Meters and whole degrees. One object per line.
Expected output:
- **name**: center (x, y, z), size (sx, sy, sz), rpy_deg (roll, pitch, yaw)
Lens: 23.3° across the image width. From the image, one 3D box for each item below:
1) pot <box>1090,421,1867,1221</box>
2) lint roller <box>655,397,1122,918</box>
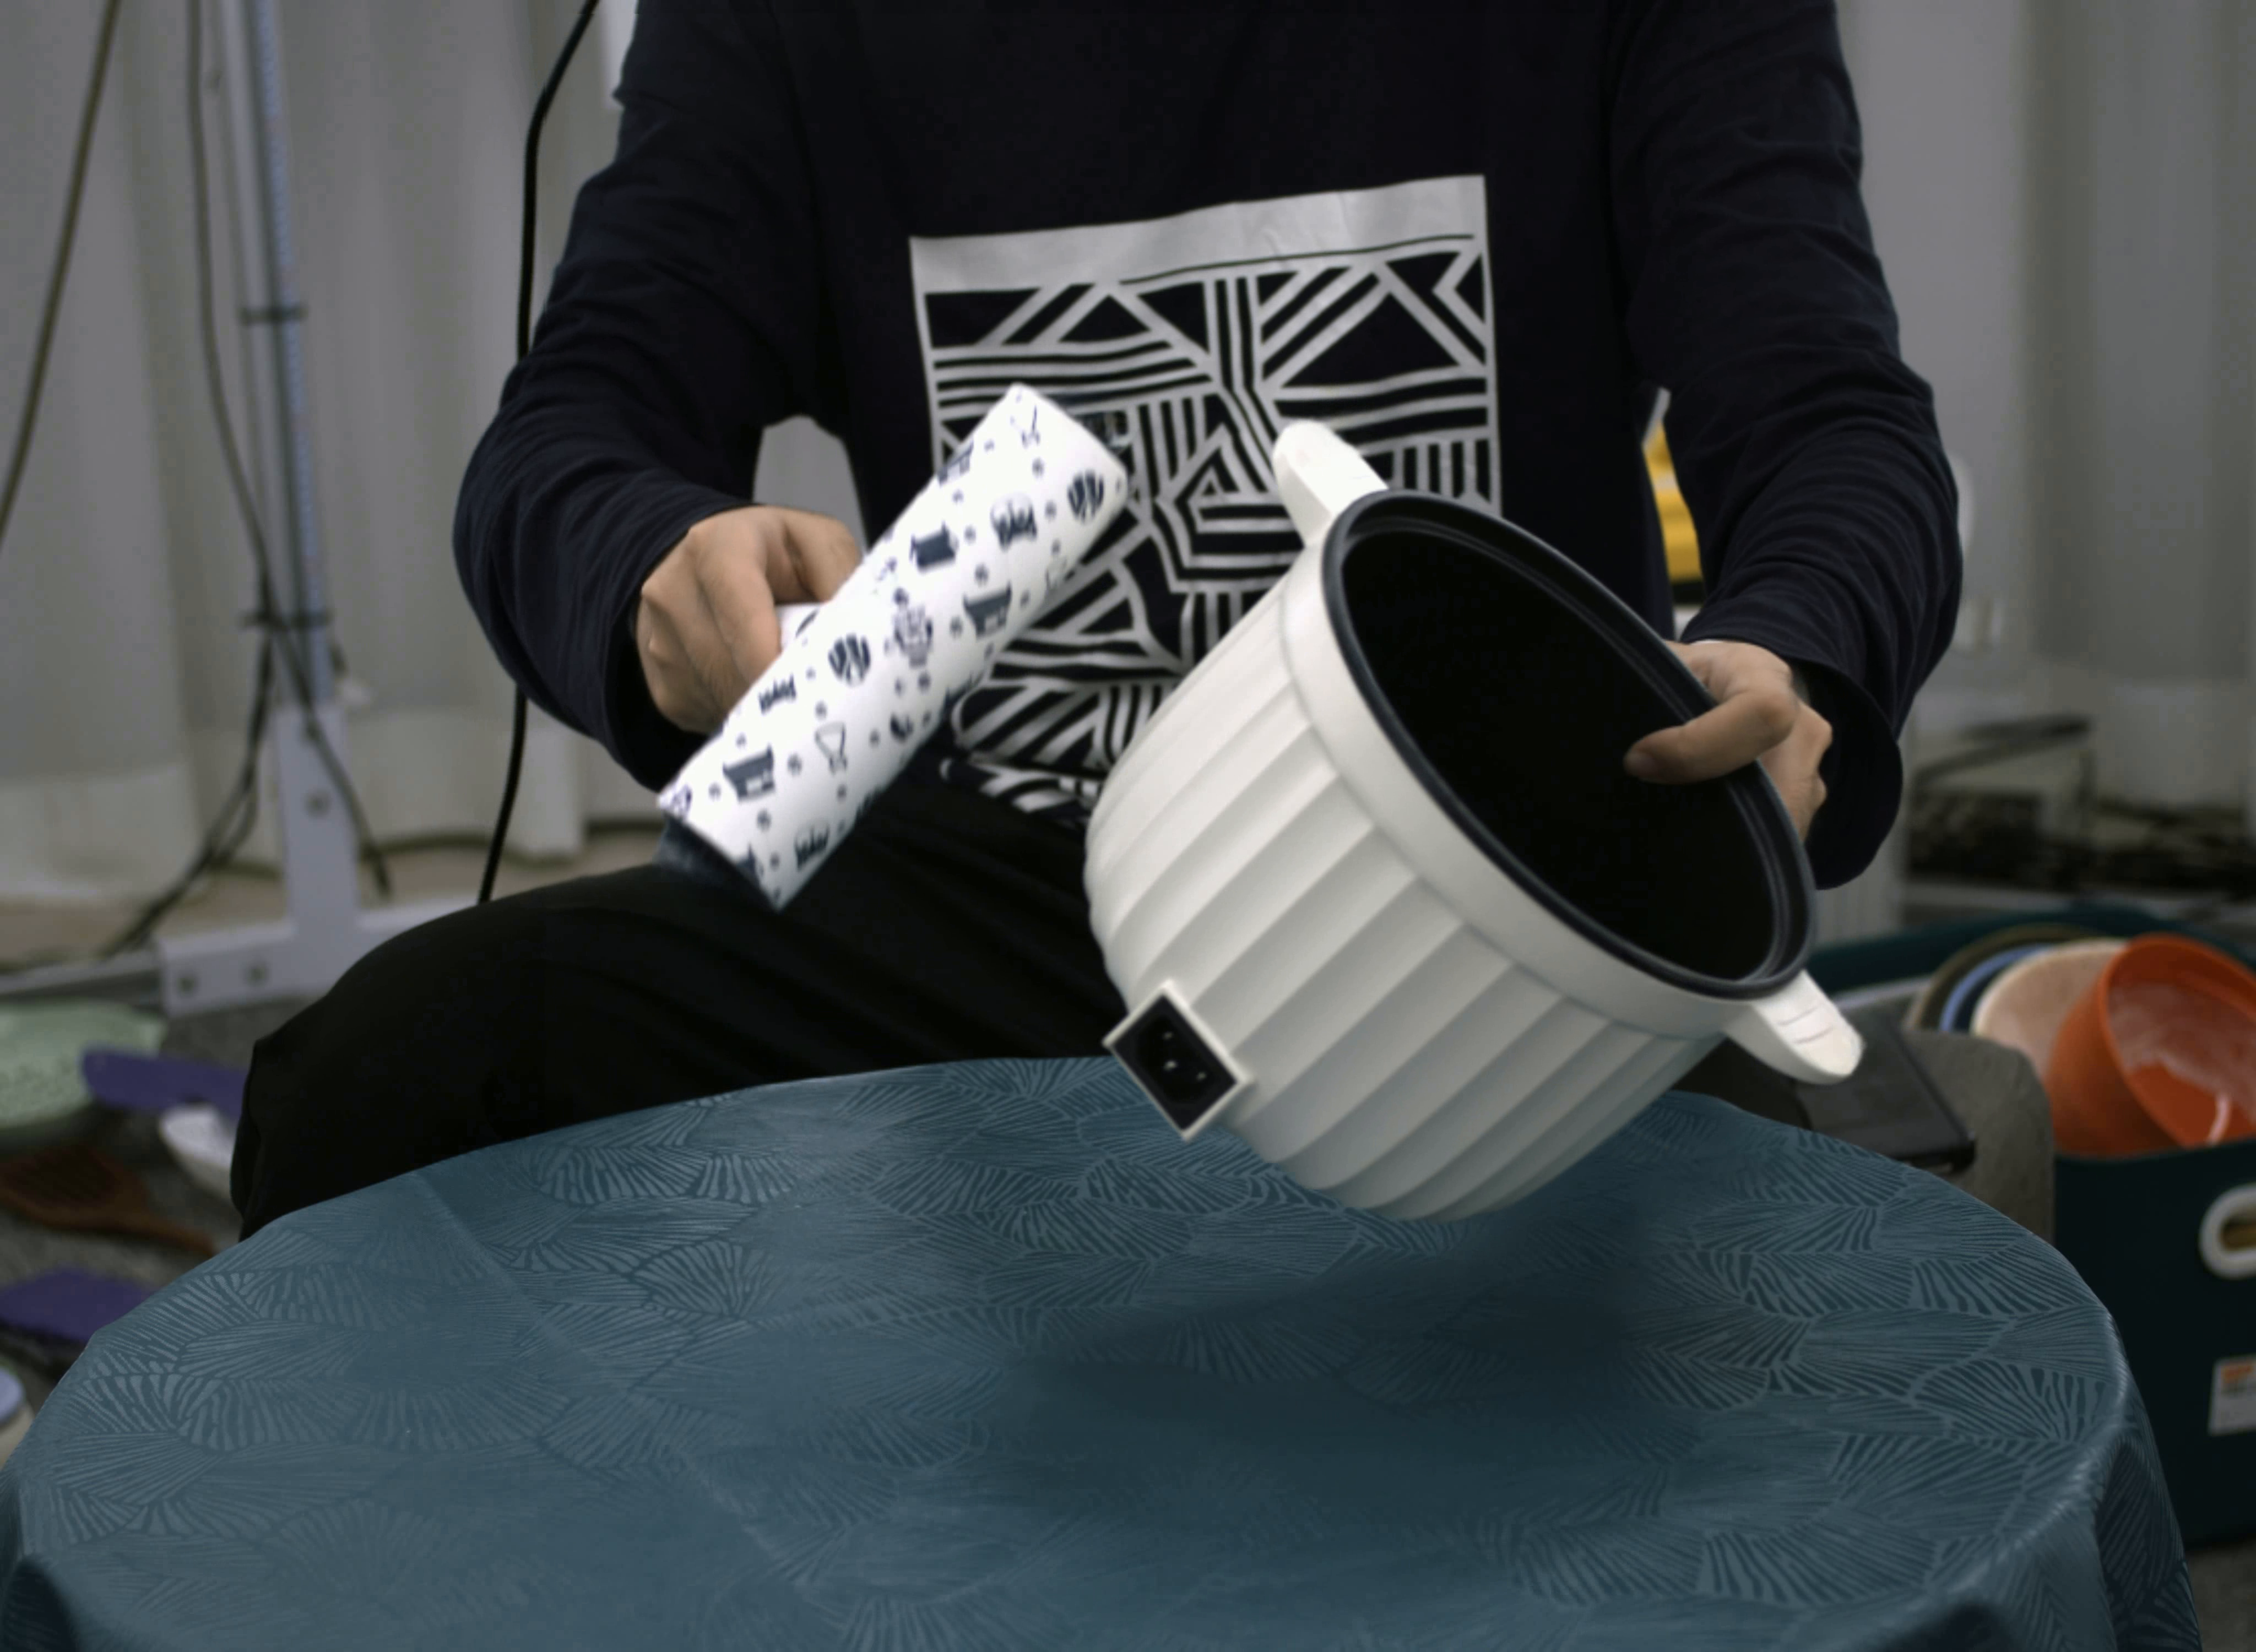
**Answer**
- **pot**: center (0.086, 0.013, 1.549), size (0.142, 0.241, 0.190), rpy_deg (-45, -10, 30)
- **lint roller**: center (-0.095, -0.051, 1.673), size (0.177, 0.050, 0.247), rpy_deg (-51, 13, -9)
